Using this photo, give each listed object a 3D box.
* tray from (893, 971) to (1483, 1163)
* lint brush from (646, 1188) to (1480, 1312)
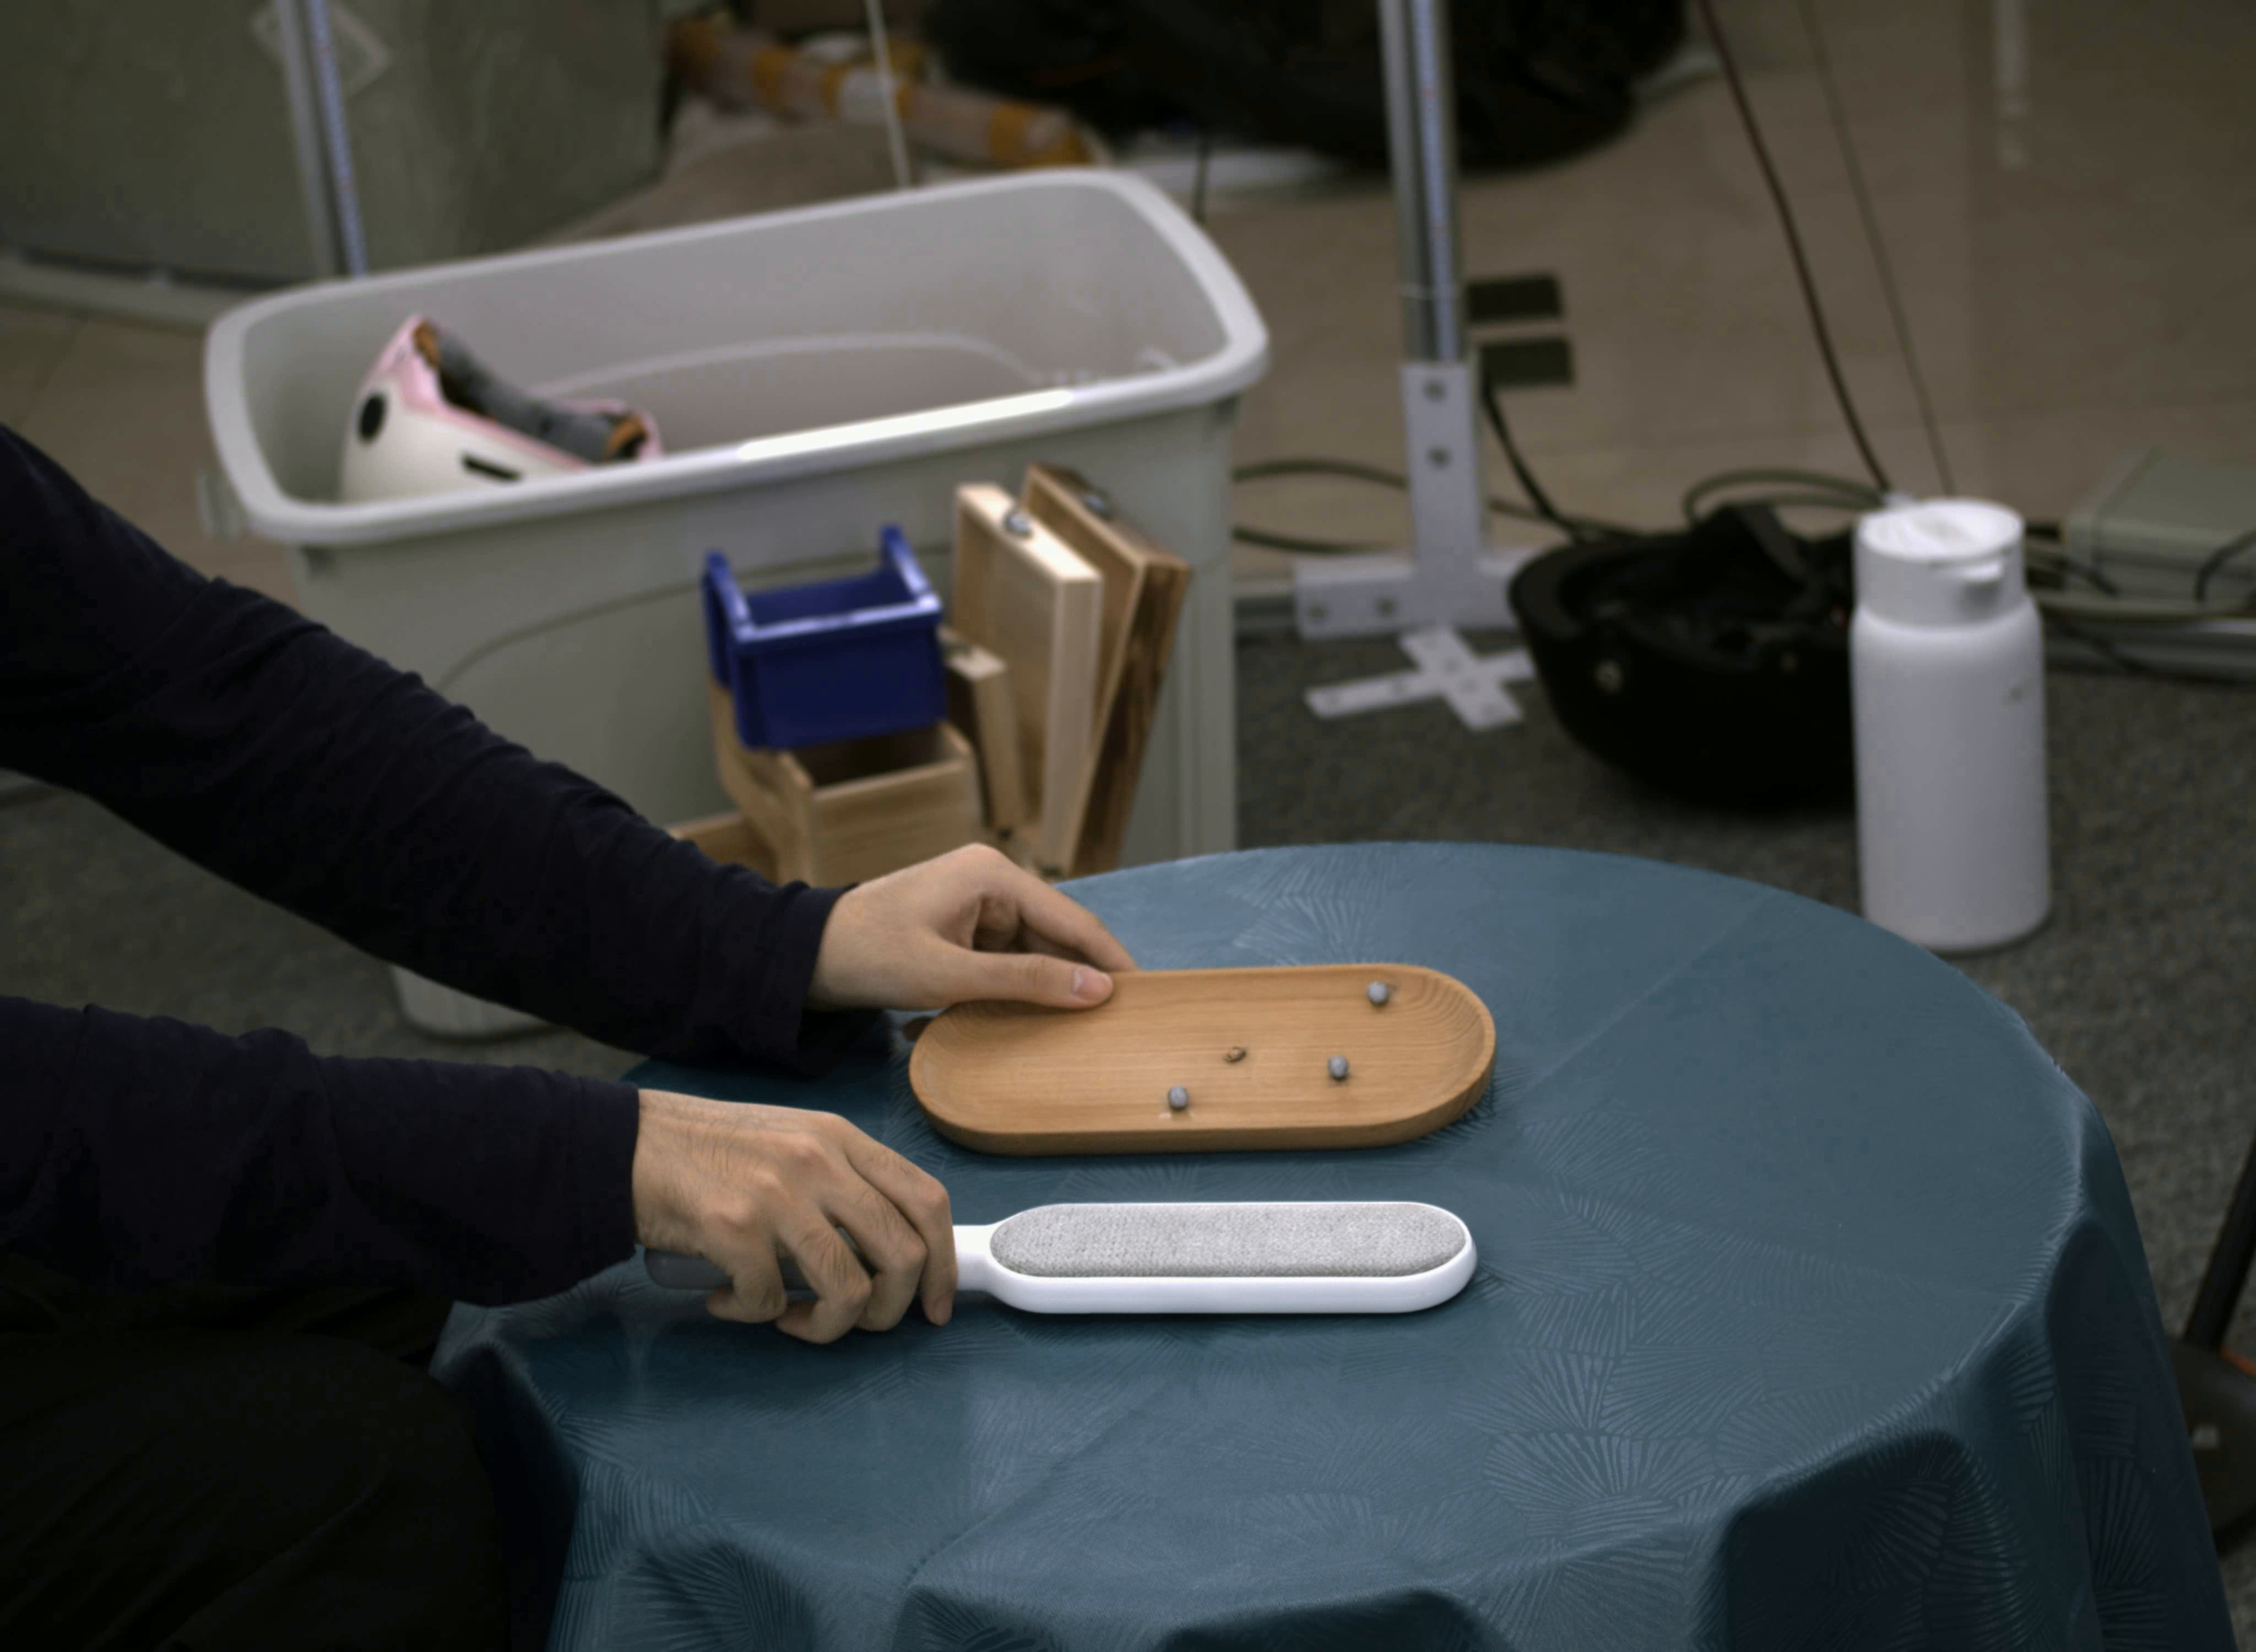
[{"bbox_3d":[0.023,0.094,2.201,0.231,0.021,0.100,-4,32,10],"label":"tray"},{"bbox_3d":[-0.026,0.154,2.080,0.308,0.021,0.059,0,34,8],"label":"lint brush"}]
